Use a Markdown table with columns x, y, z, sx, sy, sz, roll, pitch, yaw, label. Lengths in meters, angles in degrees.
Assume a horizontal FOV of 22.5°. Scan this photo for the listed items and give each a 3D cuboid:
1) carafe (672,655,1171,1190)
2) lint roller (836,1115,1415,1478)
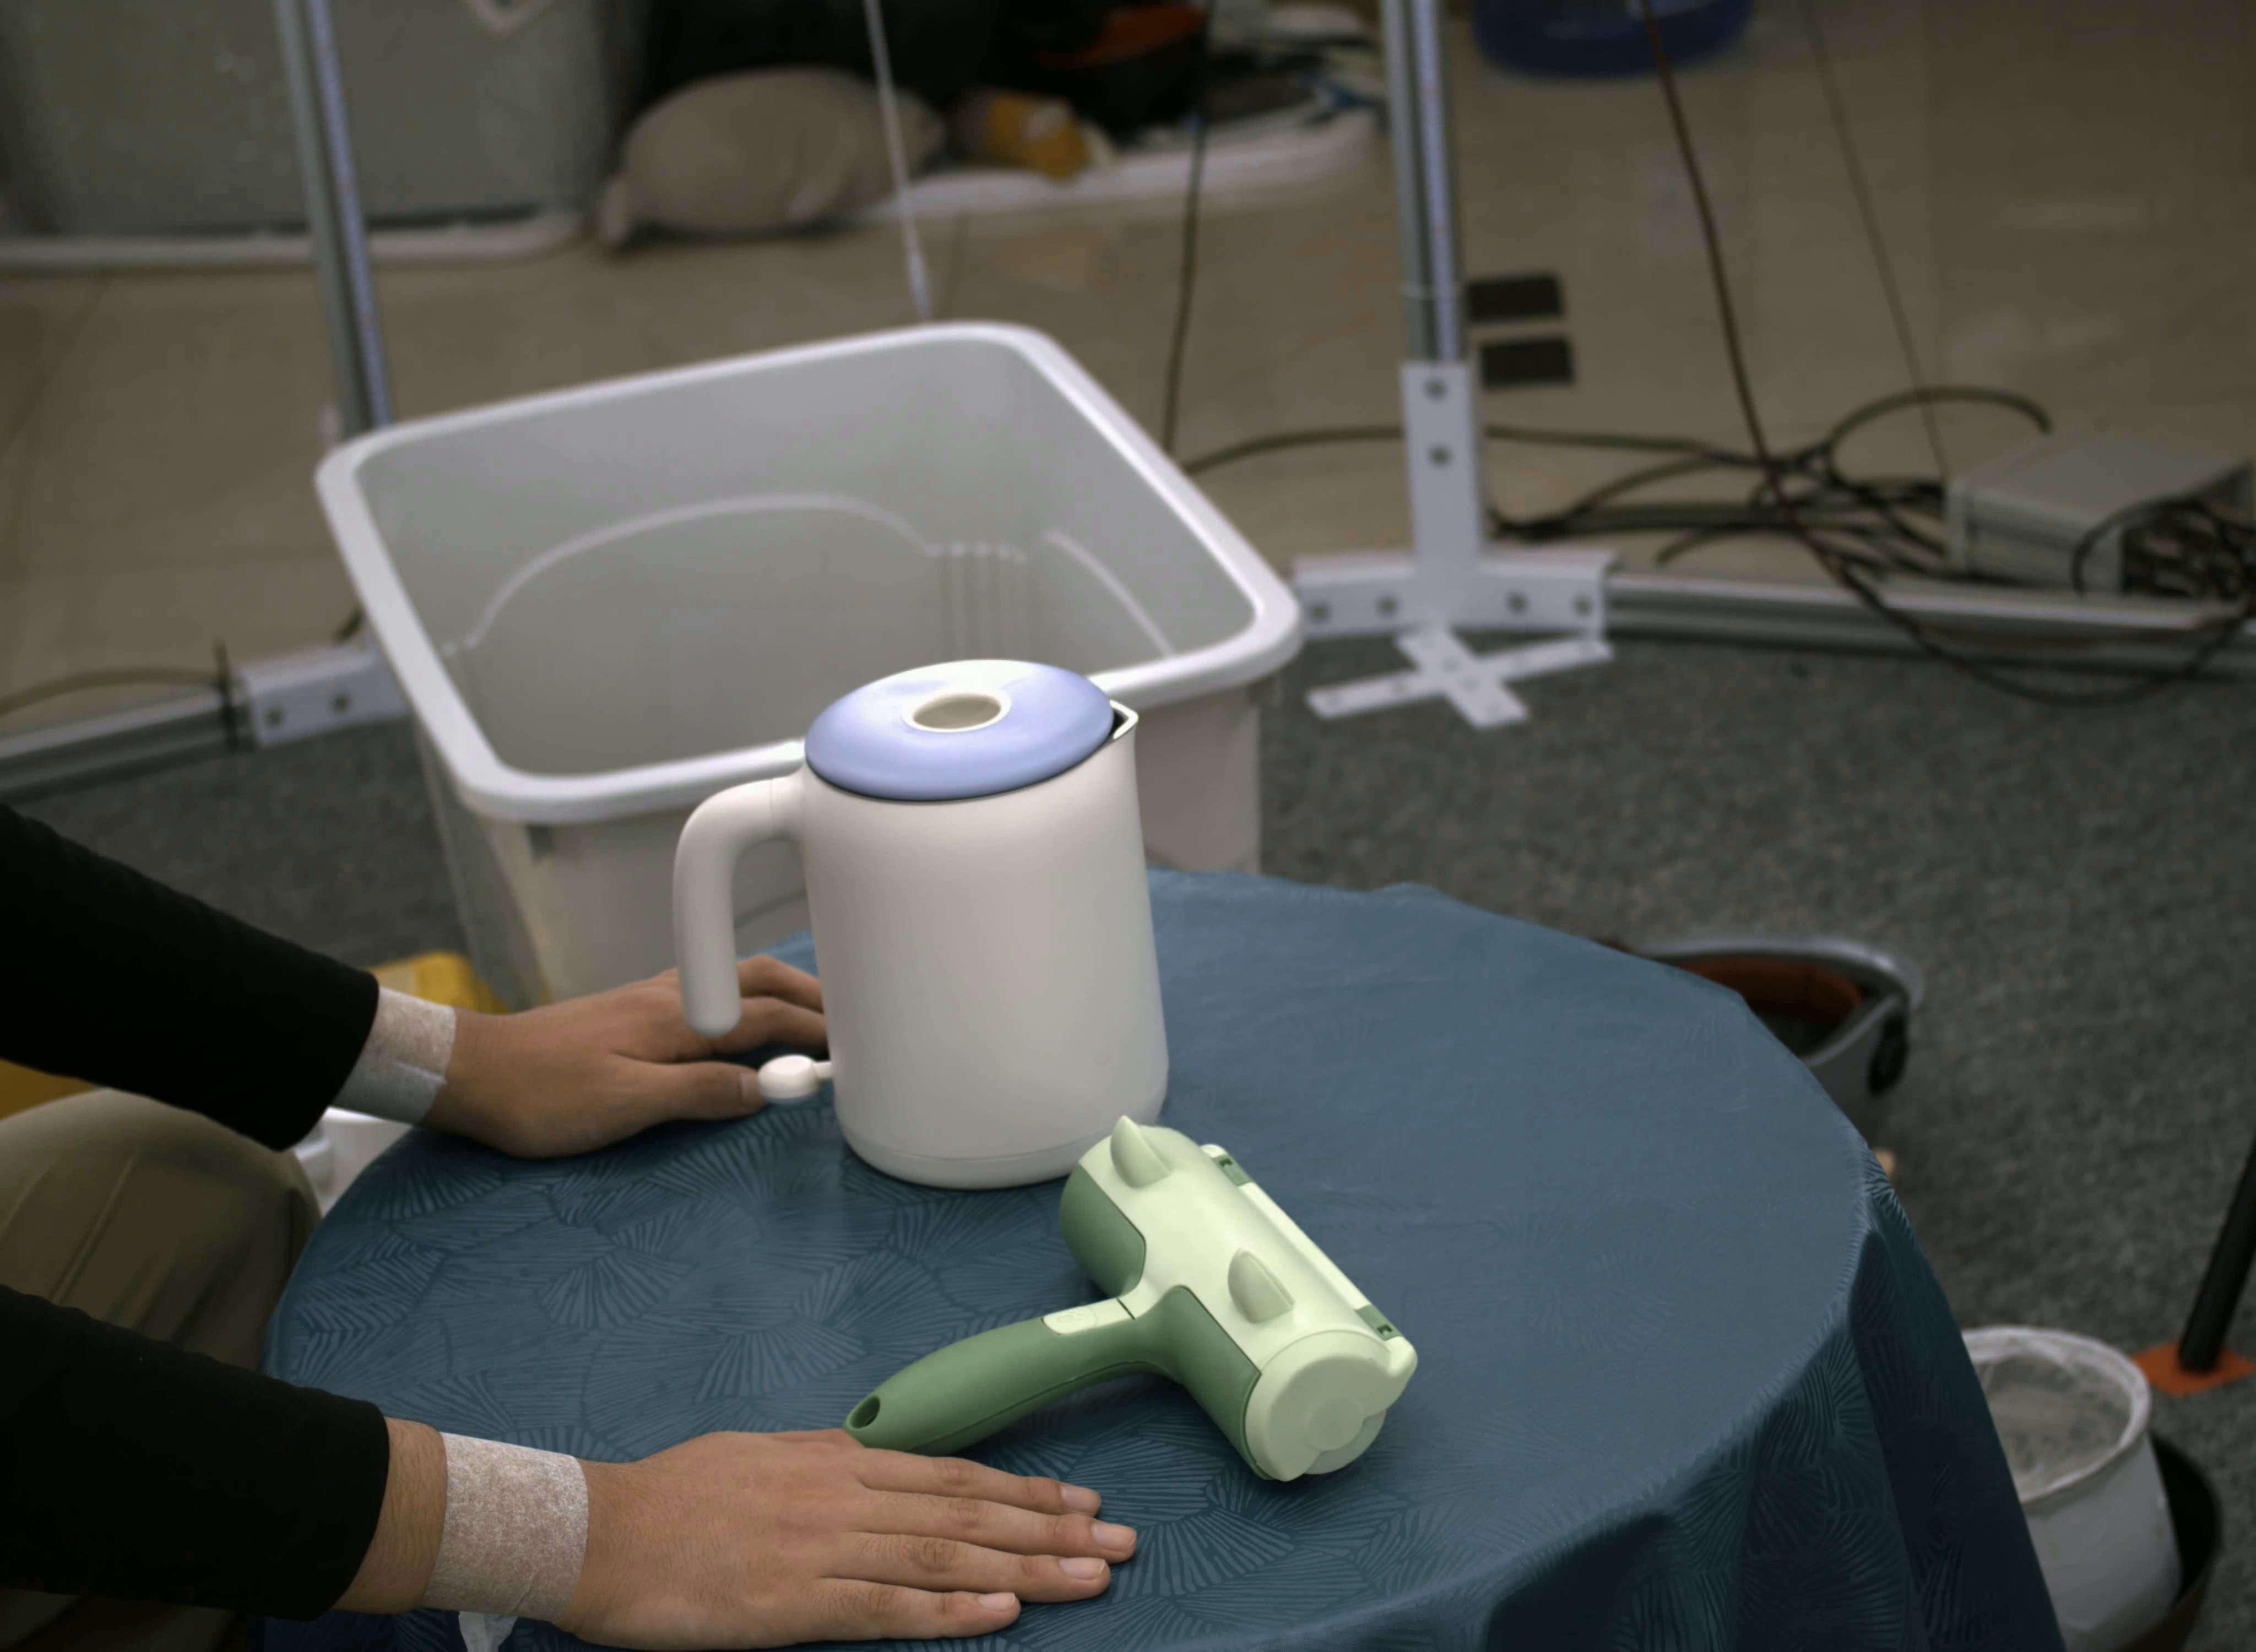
| x | y | z | sx | sy | sz | roll | pitch | yaw | label |
| --- | --- | --- | --- | --- | --- | --- | --- | --- | --- |
| -0.080 | 0.040 | 2.174 | 0.191 | 0.185 | 0.130 | -9 | 25 | 0 | carafe |
| -0.018 | 0.170 | 1.993 | 0.183 | 0.083 | 0.196 | -12 | 24 | -17 | lint roller |
